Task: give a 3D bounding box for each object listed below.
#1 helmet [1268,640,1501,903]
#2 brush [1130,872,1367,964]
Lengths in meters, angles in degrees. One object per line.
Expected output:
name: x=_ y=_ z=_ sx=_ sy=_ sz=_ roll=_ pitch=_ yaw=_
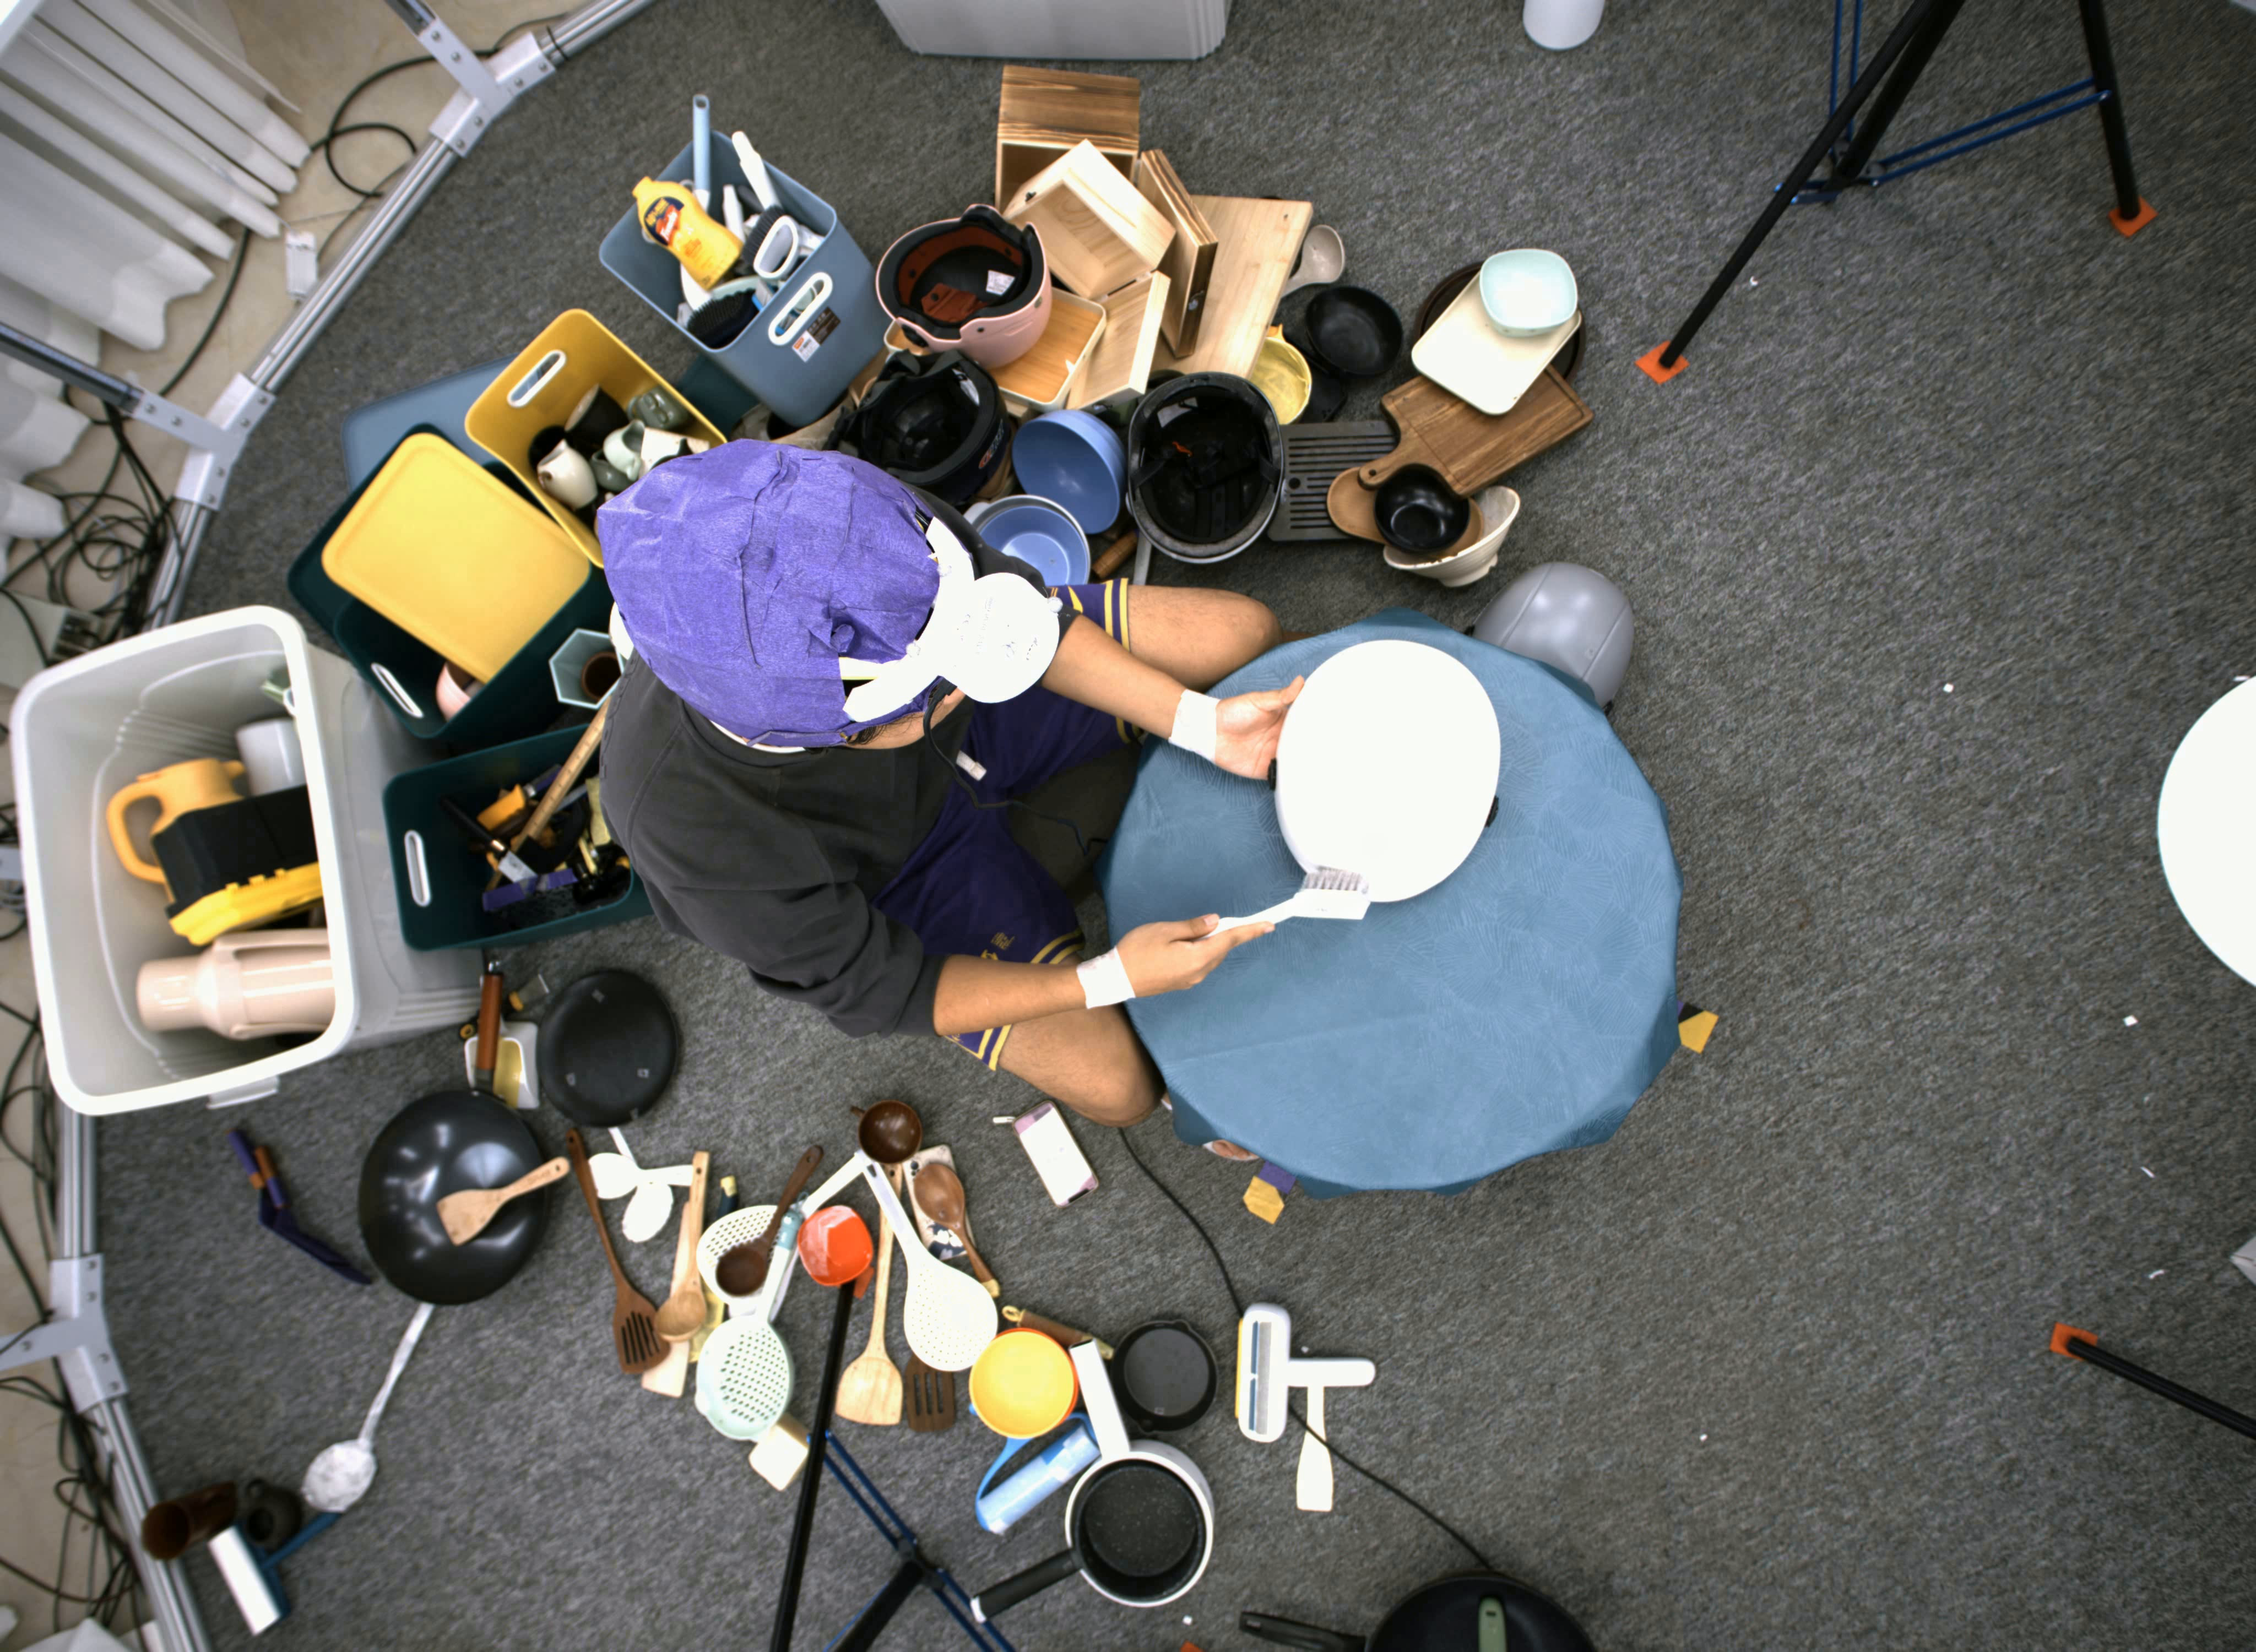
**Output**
helmet: x=0.262 y=-0.061 z=1.379 sx=0.237 sy=0.167 sz=0.268 roll=12 pitch=88 yaw=7
brush: x=0.119 y=0.088 z=1.377 sx=0.245 sy=0.035 sz=0.049 roll=-13 pitch=52 yaw=10
